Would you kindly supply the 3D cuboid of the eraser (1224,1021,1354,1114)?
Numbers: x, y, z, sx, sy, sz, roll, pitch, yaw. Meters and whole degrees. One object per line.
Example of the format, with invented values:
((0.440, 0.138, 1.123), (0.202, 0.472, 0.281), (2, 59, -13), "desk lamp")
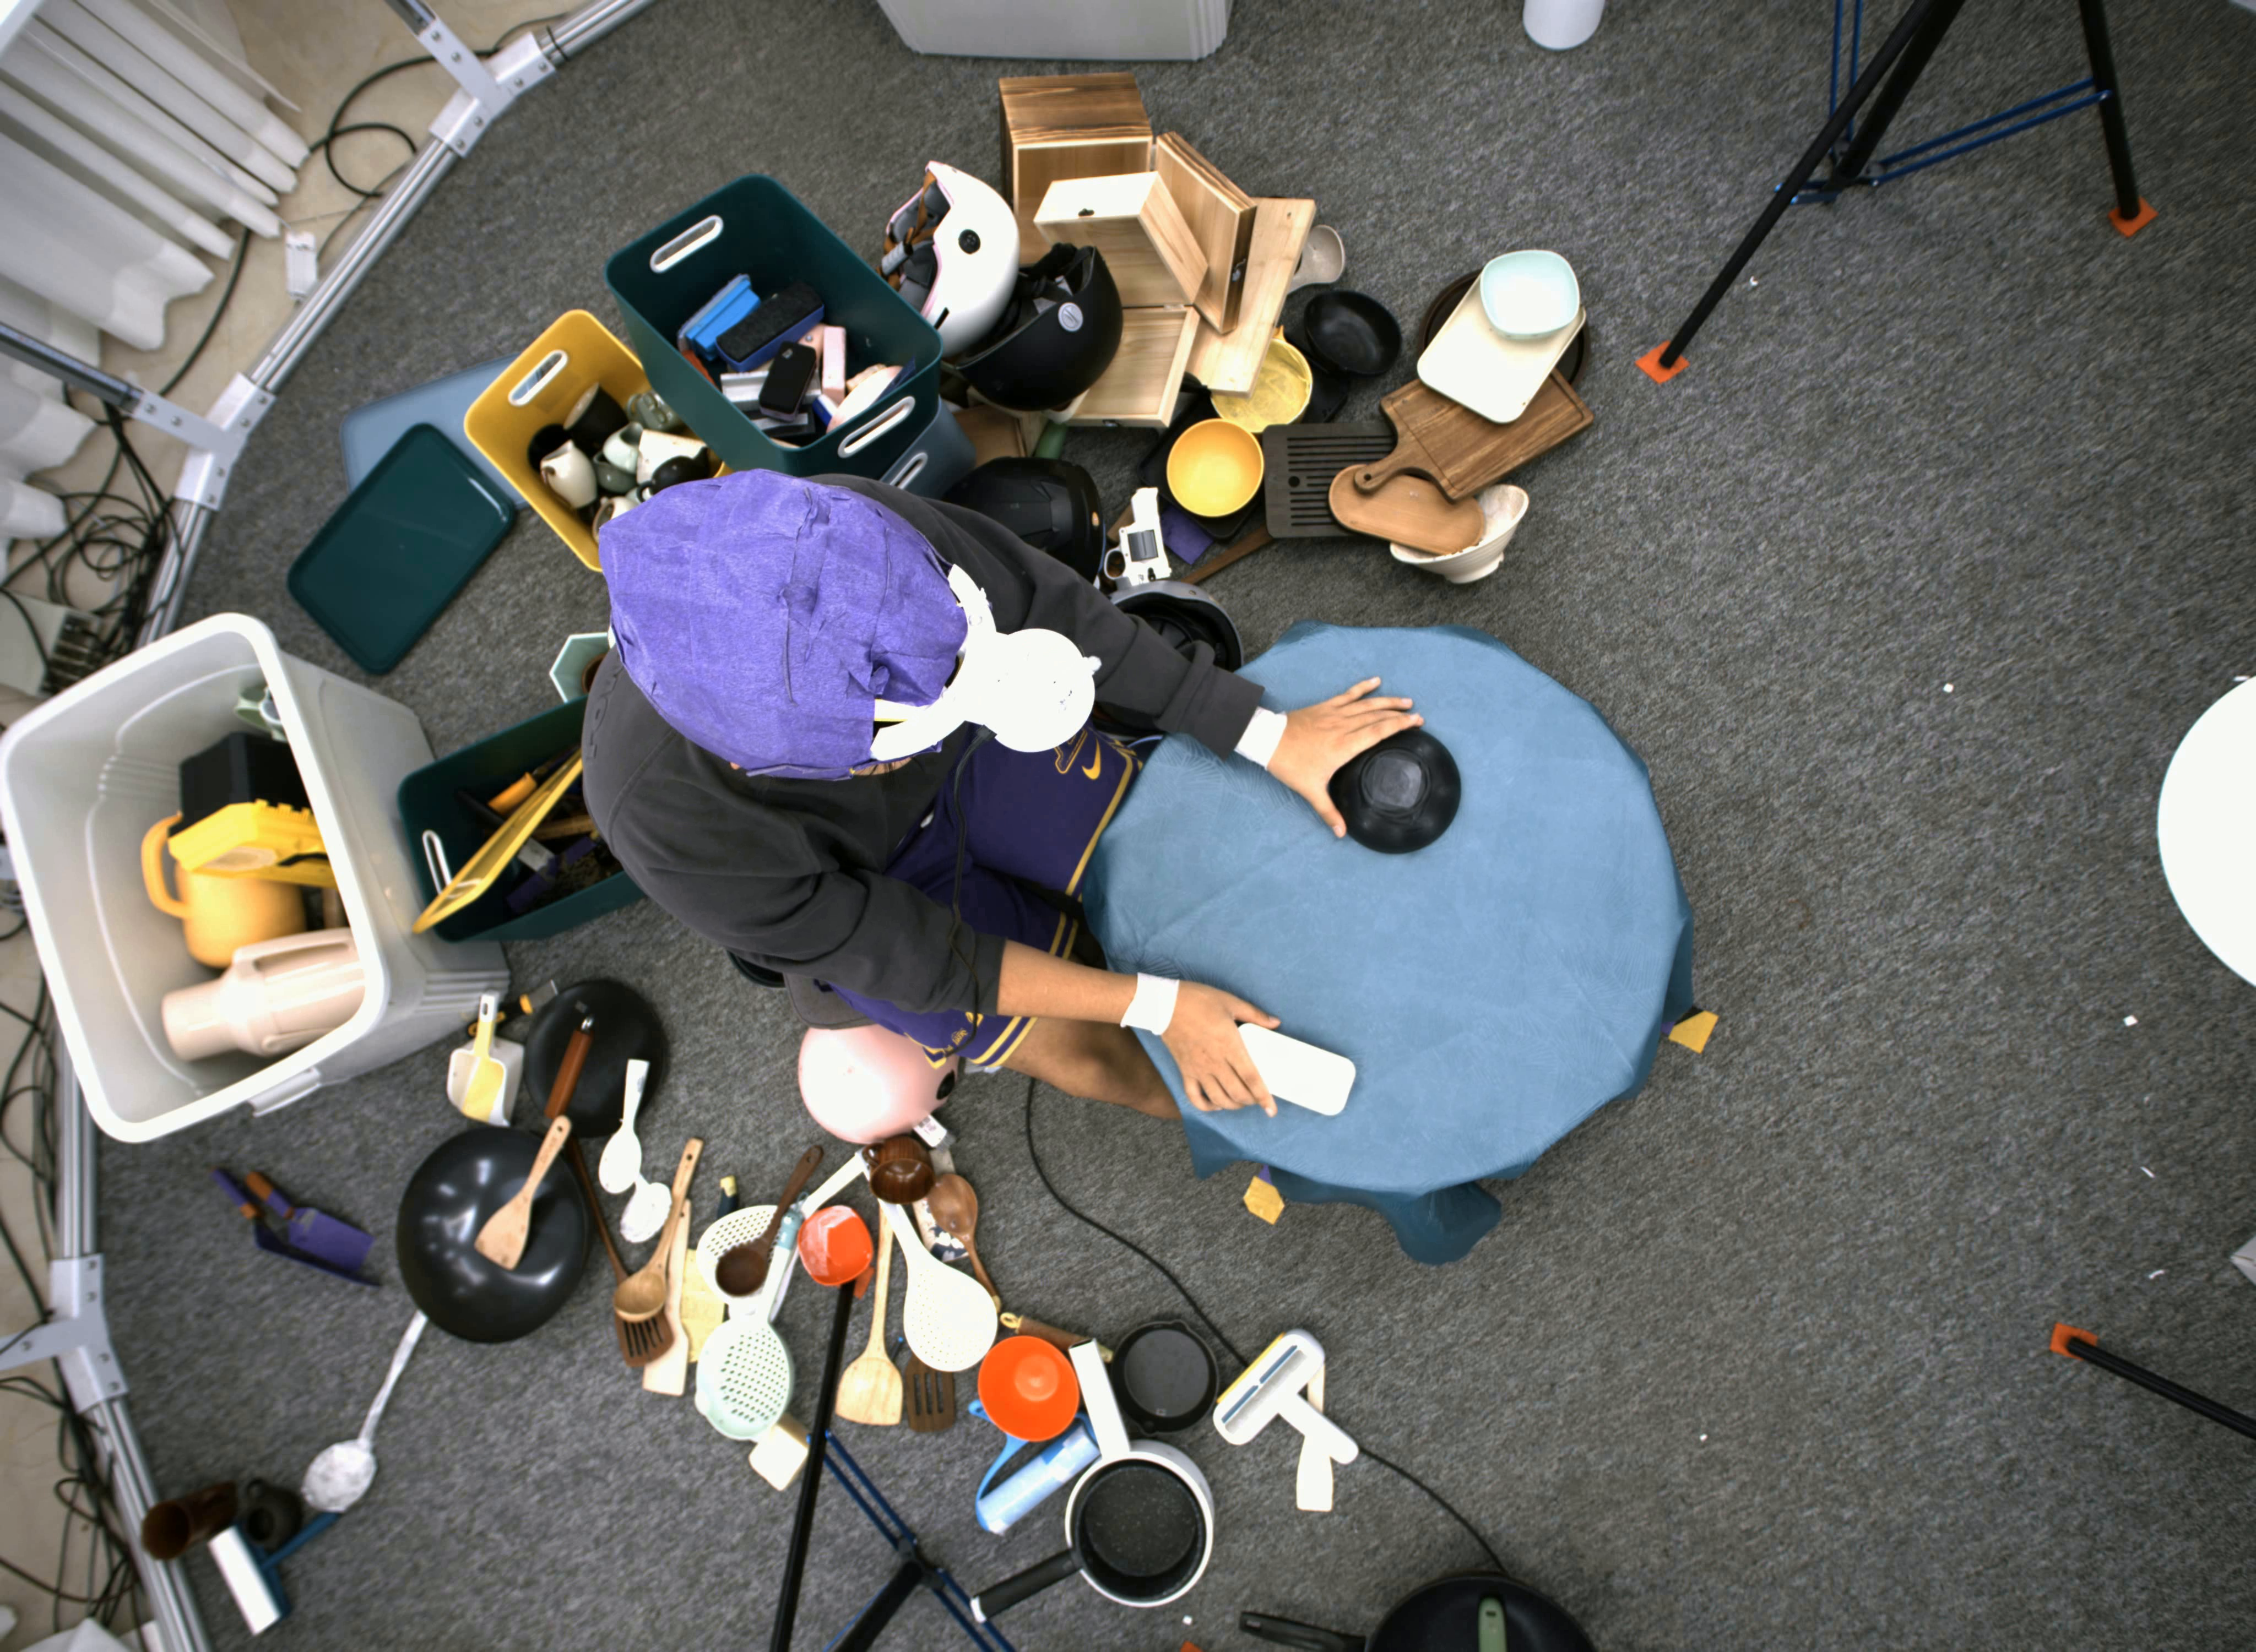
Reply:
((0.169, 0.250, 1.452), (0.131, 0.034, 0.063), (21, 88, 9), "eraser")

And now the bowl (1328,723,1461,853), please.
((0.278, -0.043, 1.438), (0.140, 0.050, 0.139), (-1, 88, 9), "bowl")
